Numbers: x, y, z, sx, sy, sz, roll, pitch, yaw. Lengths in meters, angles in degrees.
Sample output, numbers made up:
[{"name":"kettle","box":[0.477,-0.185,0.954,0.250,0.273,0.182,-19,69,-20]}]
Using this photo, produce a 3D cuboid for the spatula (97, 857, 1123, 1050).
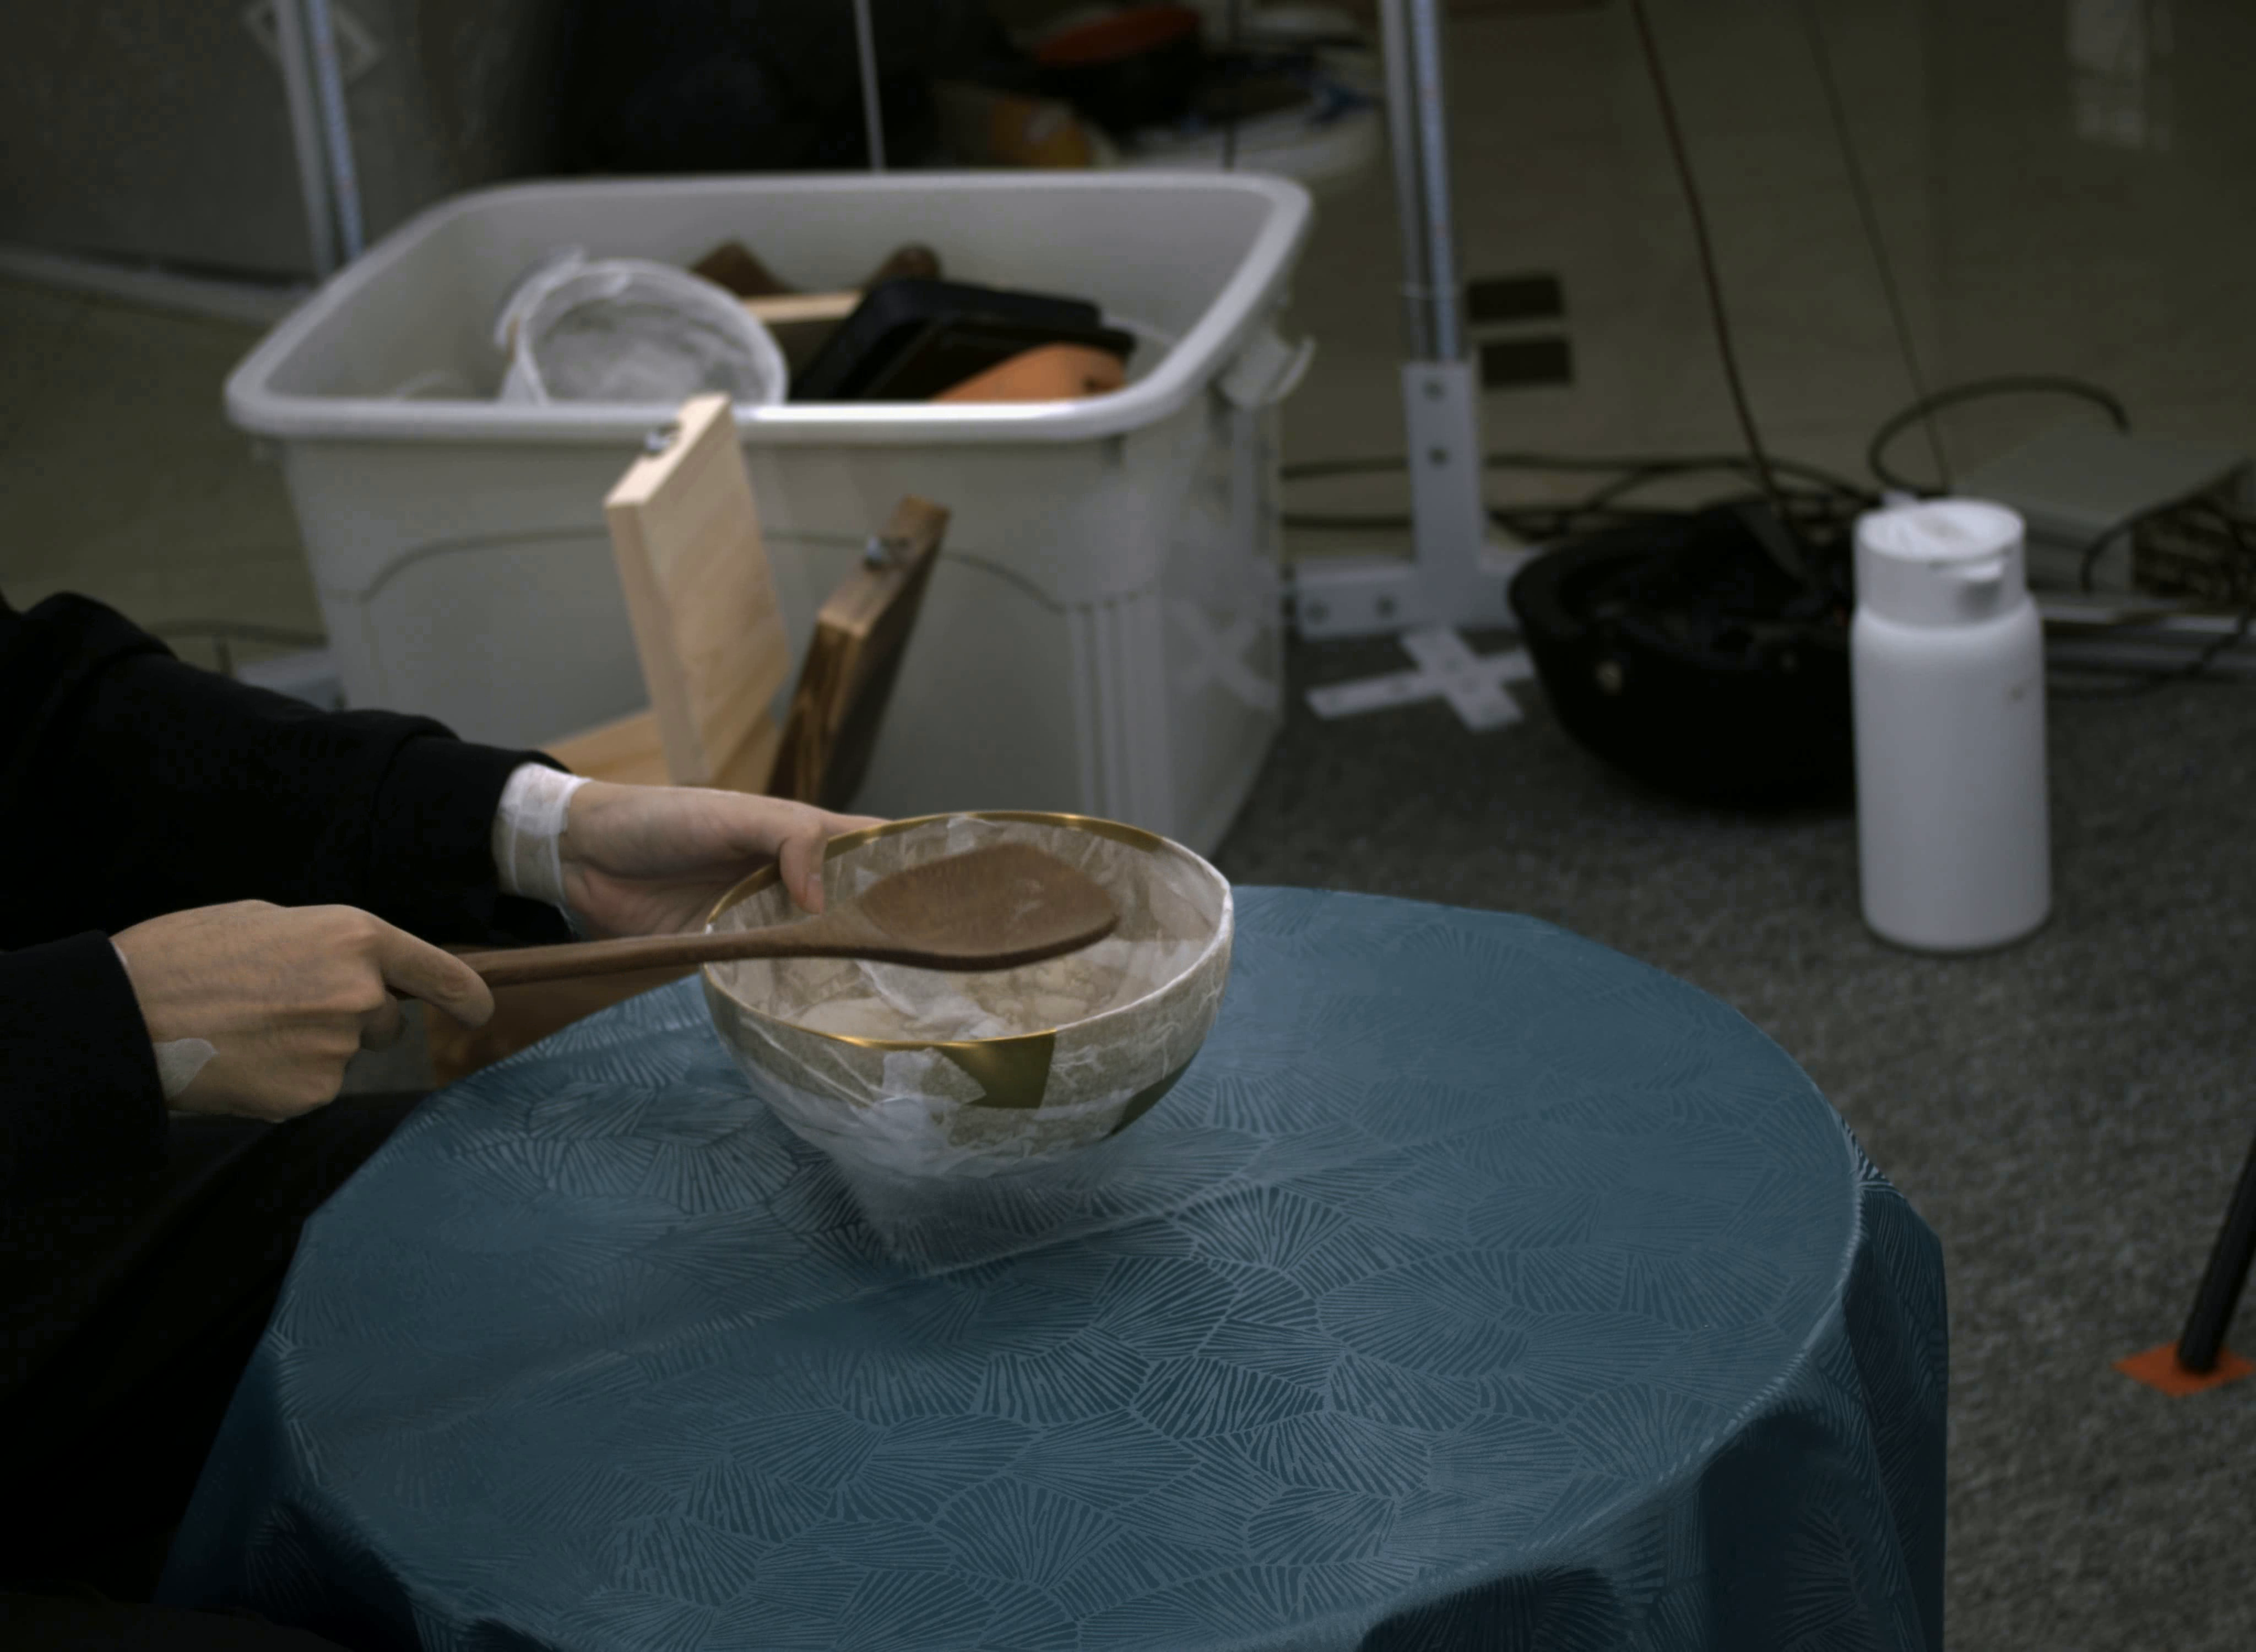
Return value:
[{"name":"spatula","box":[-0.185,0.049,2.051,0.385,0.016,0.095,-6,23,-25]}]

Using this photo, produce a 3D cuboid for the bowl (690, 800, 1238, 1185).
[{"name":"bowl","box":[-0.059,0.075,2.141,0.214,0.096,0.211,-5,26,3]}]
